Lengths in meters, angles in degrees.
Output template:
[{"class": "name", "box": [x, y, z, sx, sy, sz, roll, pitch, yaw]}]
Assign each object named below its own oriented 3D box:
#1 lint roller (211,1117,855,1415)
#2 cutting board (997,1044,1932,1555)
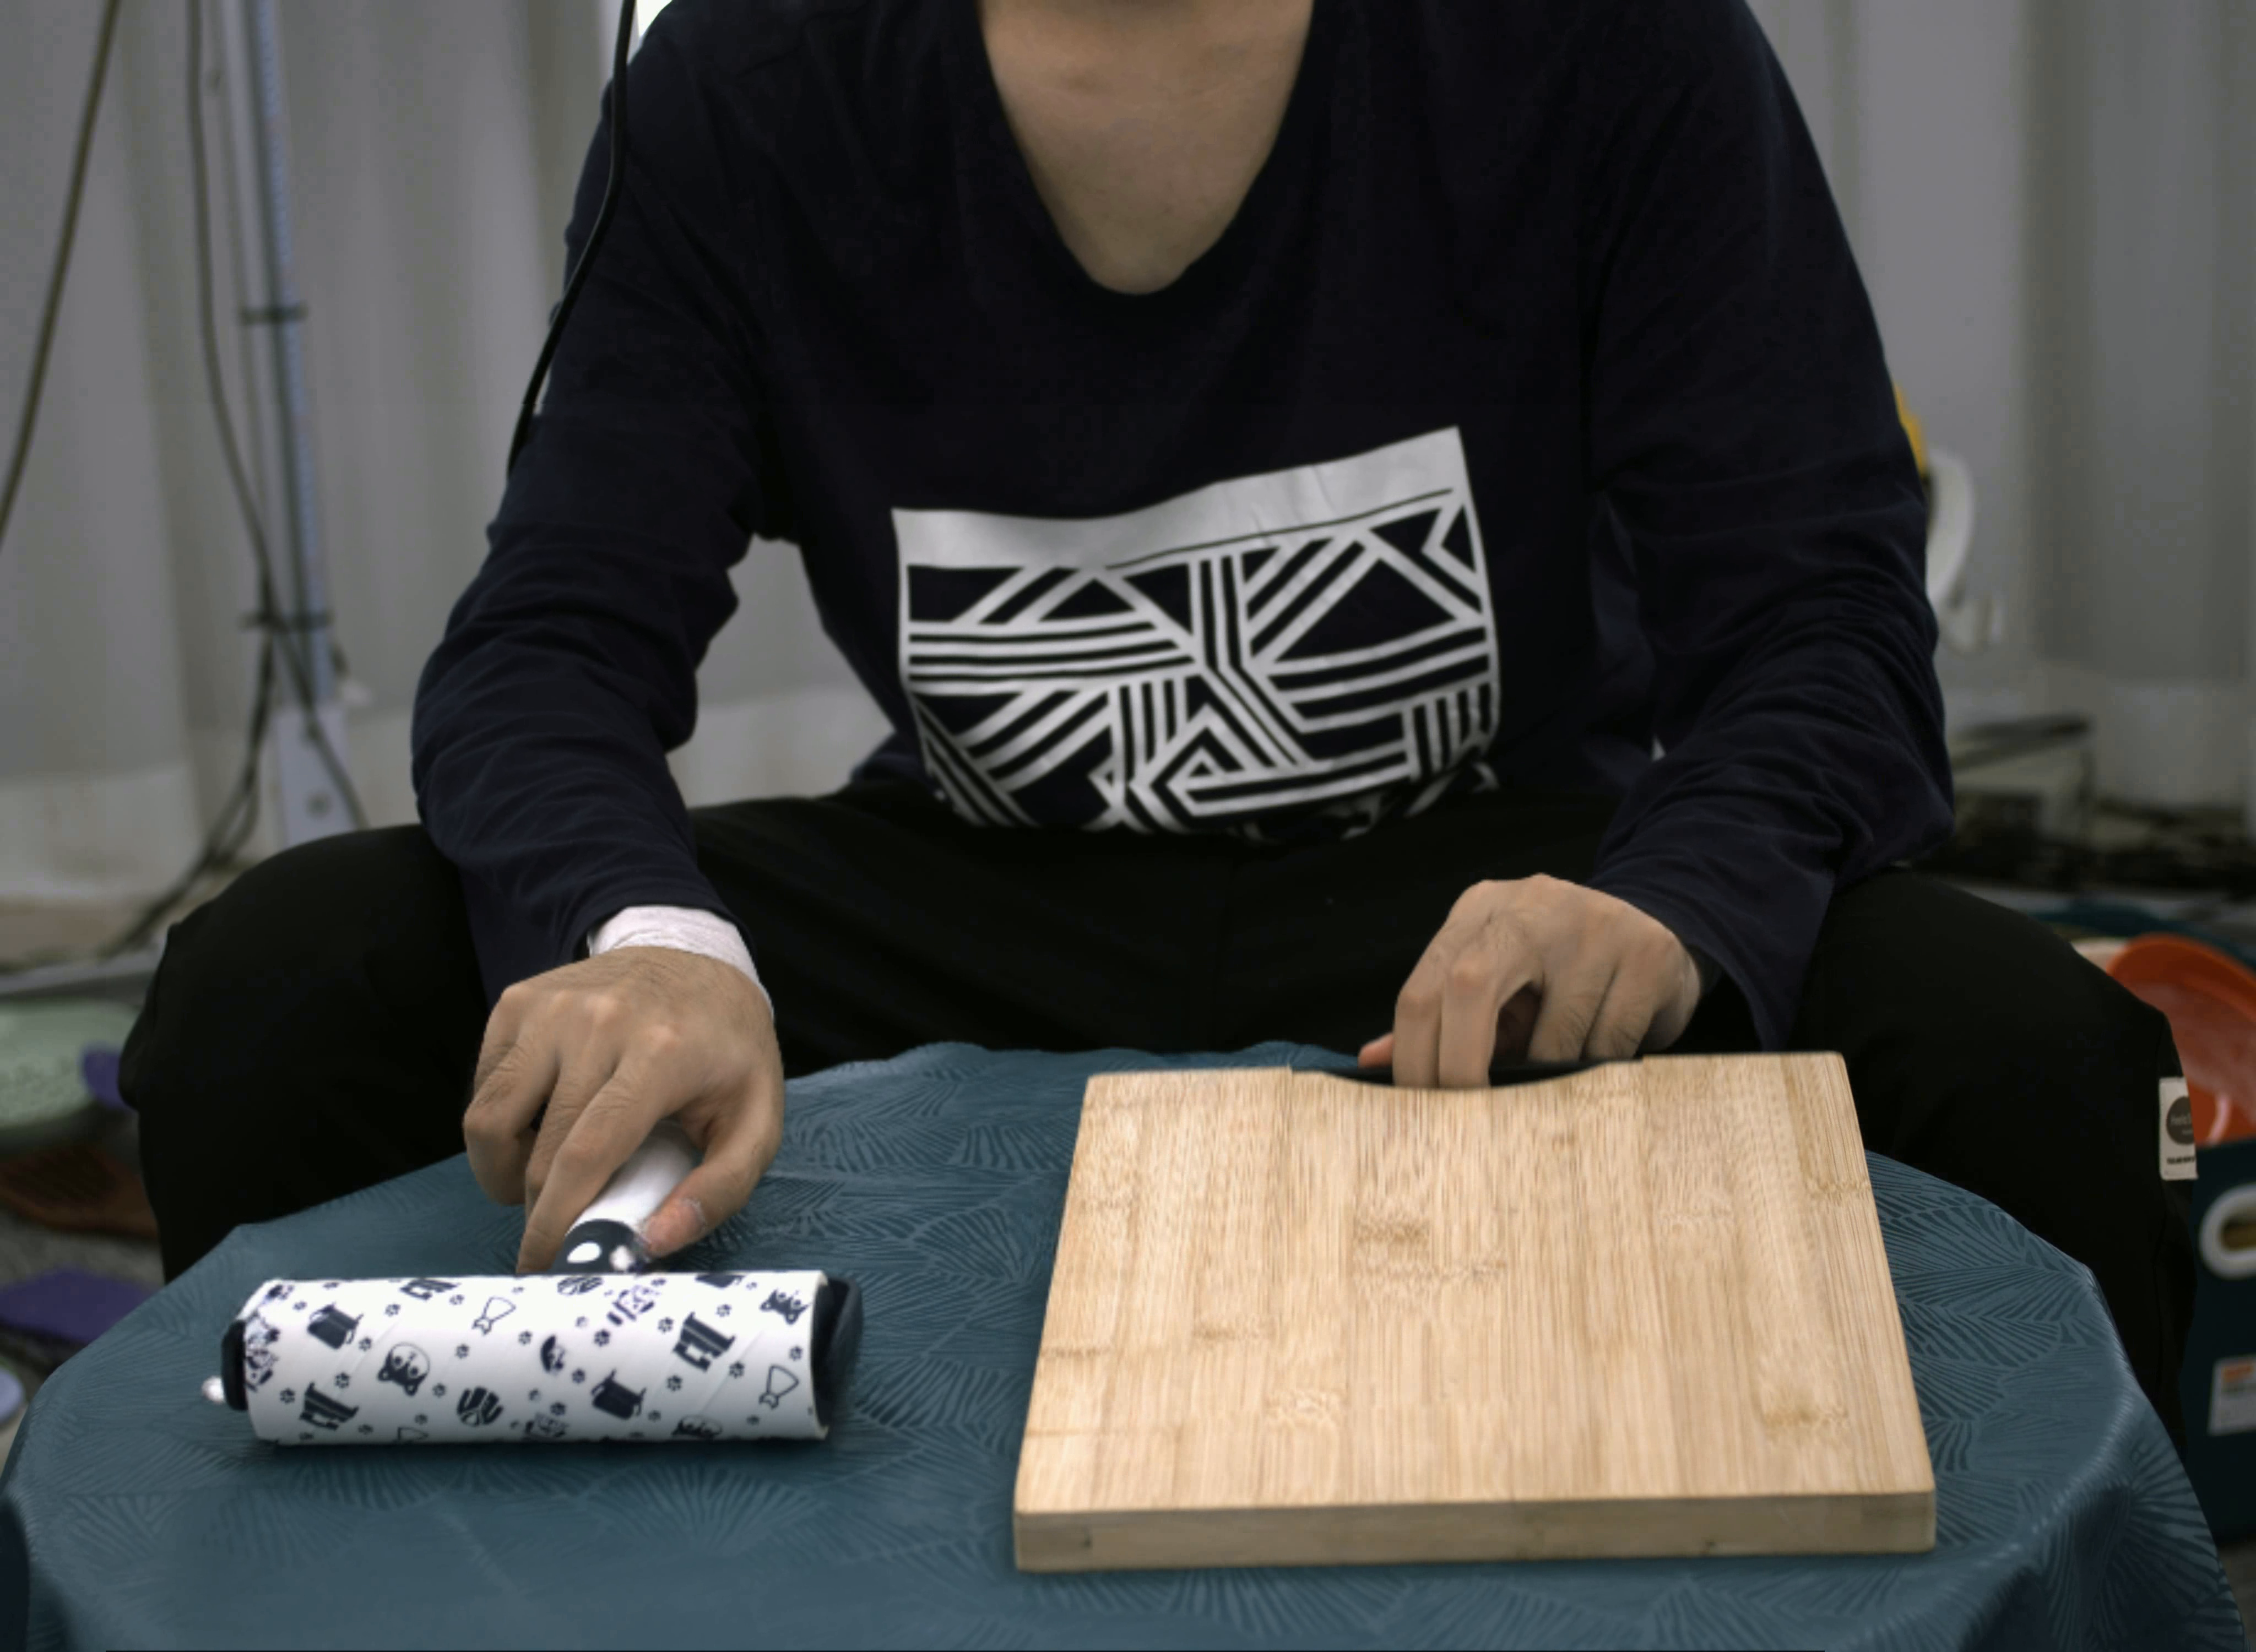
[{"class": "lint roller", "box": [-0.150, 0.118, 1.621, 0.176, 0.050, 0.248, 1, 12, 10]}, {"class": "cutting board", "box": [0.098, 0.132, 1.577, 0.250, 0.023, 0.351, -2, 17, 3]}]
